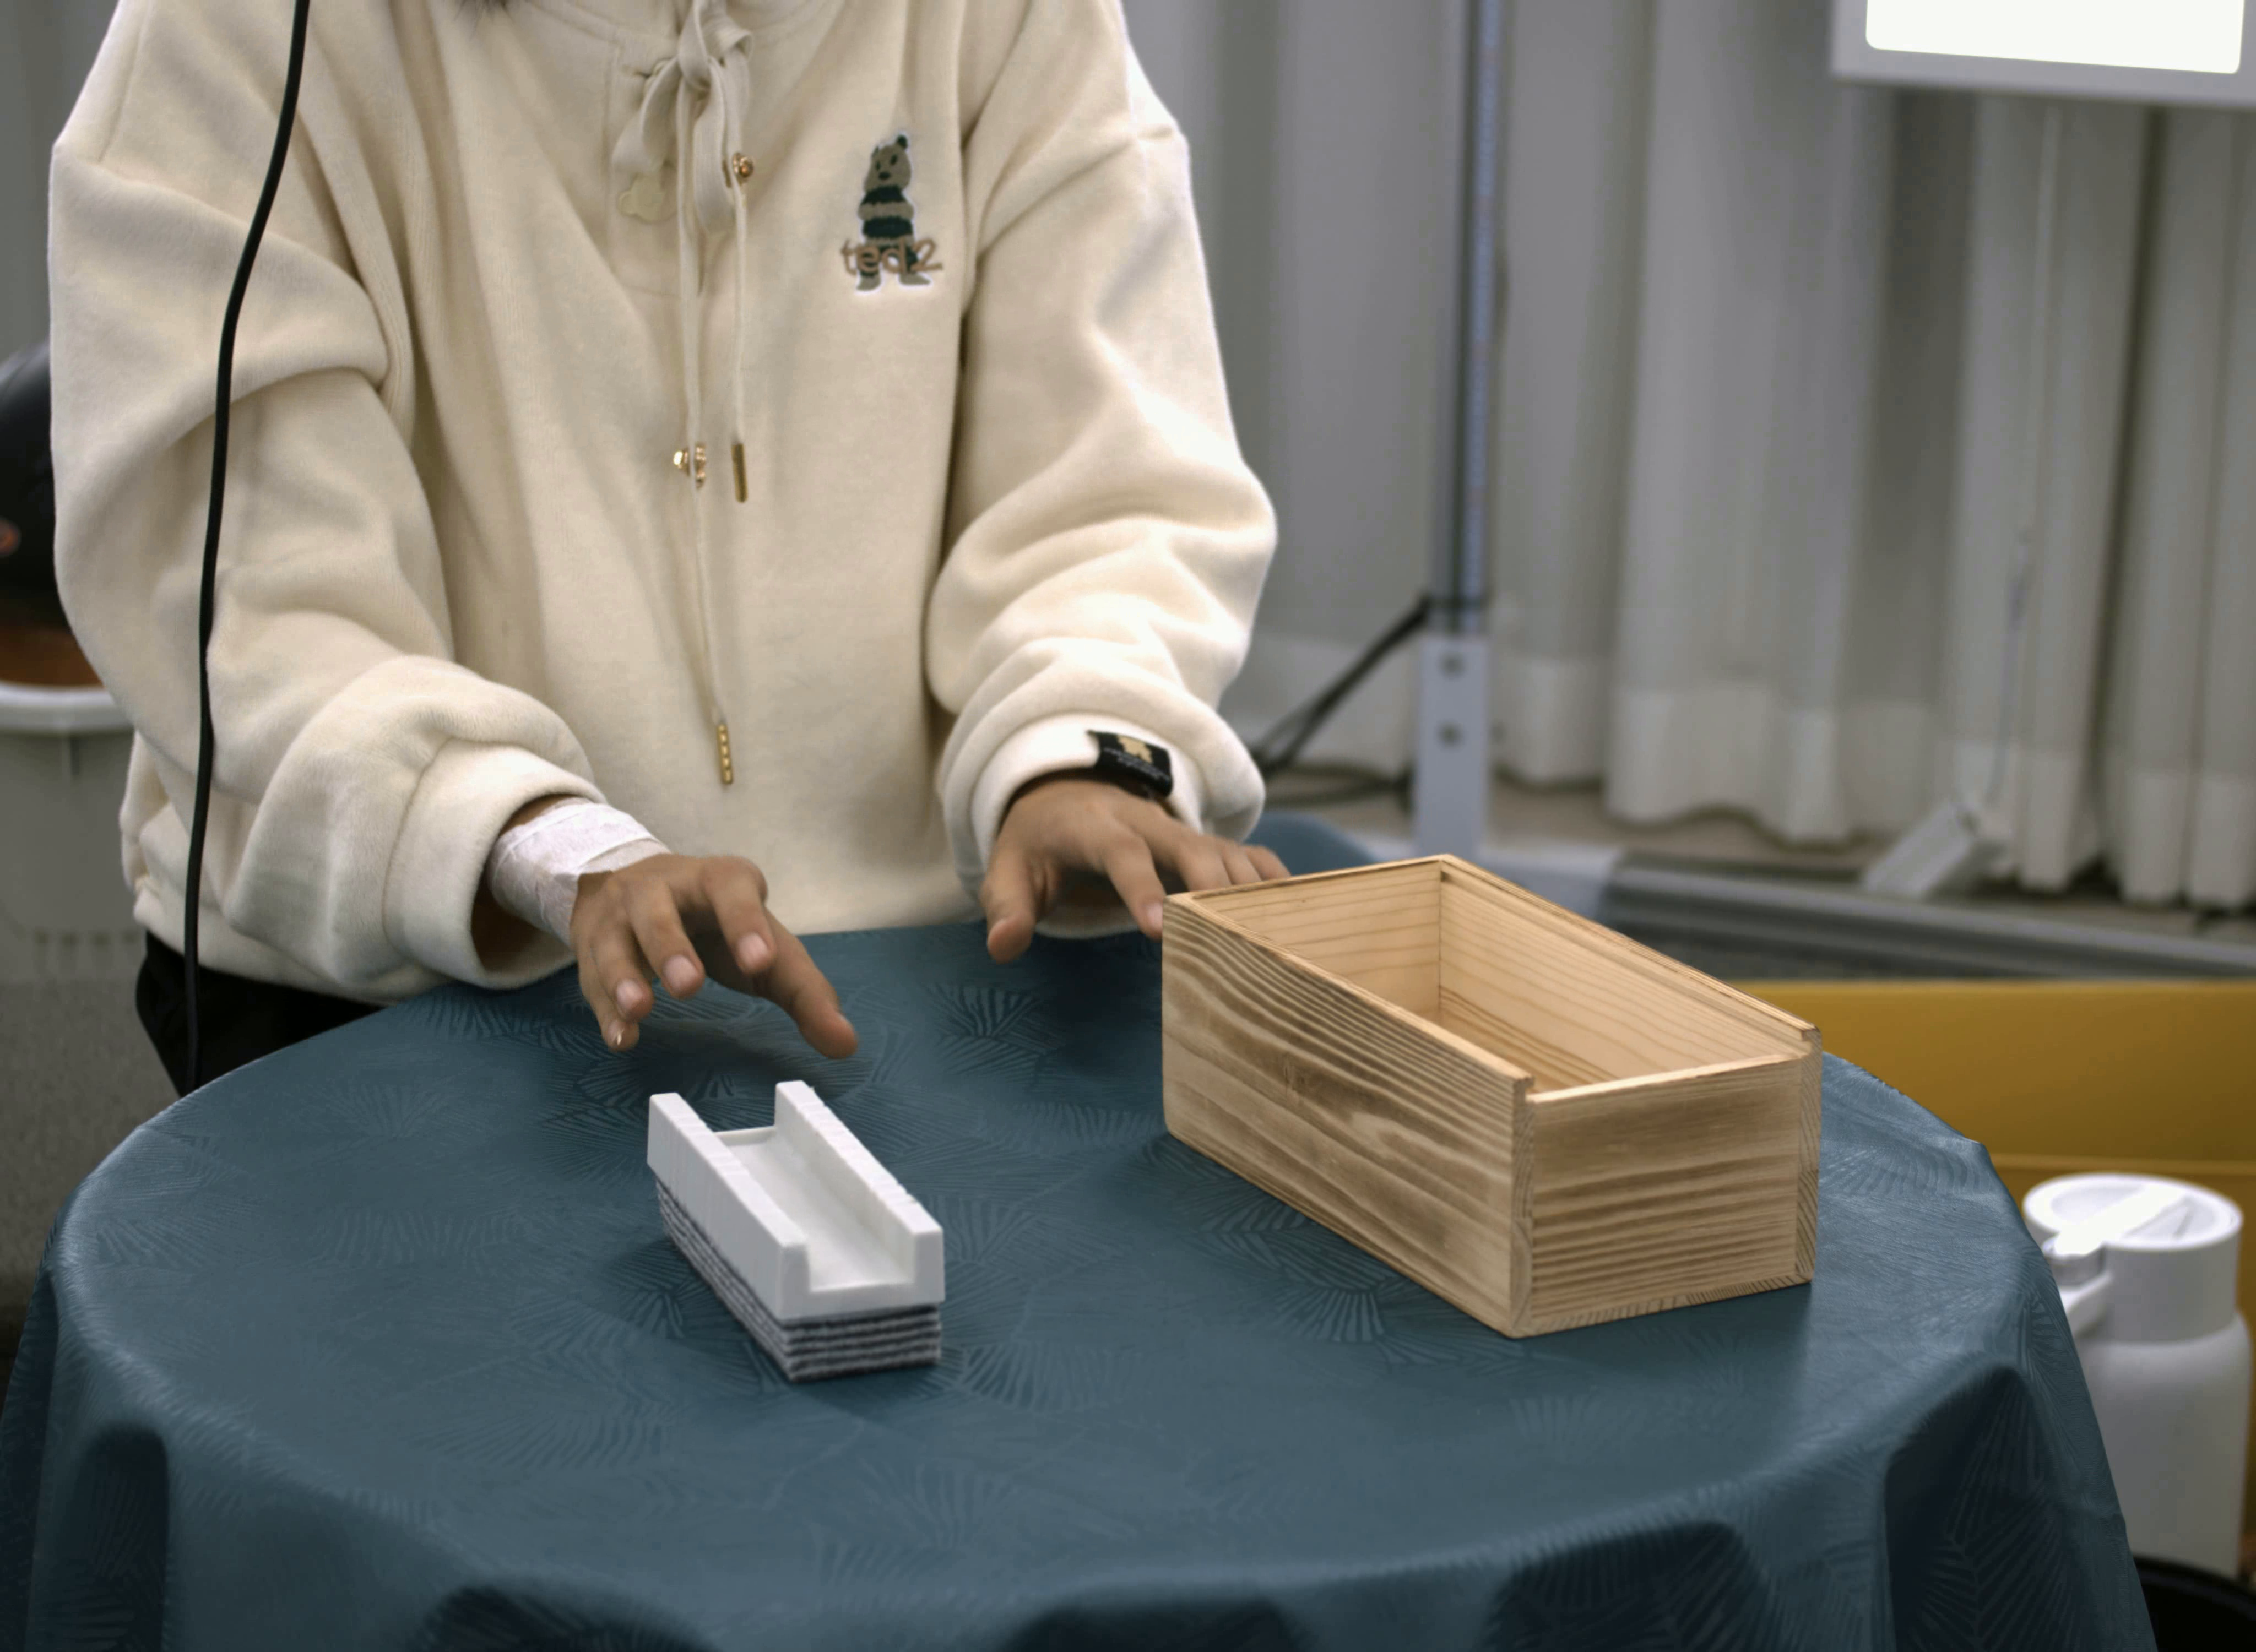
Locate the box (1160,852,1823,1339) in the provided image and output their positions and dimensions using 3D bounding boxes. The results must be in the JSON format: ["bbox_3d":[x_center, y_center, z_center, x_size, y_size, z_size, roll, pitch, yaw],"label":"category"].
[{"bbox_3d":[0.106,0.077,1.602,0.108,0.081,0.209,-8,18,-28],"label":"box"}]

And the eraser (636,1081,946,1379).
[{"bbox_3d":[-0.099,0.115,1.519,0.050,0.047,0.132,-8,19,-22],"label":"eraser"}]
